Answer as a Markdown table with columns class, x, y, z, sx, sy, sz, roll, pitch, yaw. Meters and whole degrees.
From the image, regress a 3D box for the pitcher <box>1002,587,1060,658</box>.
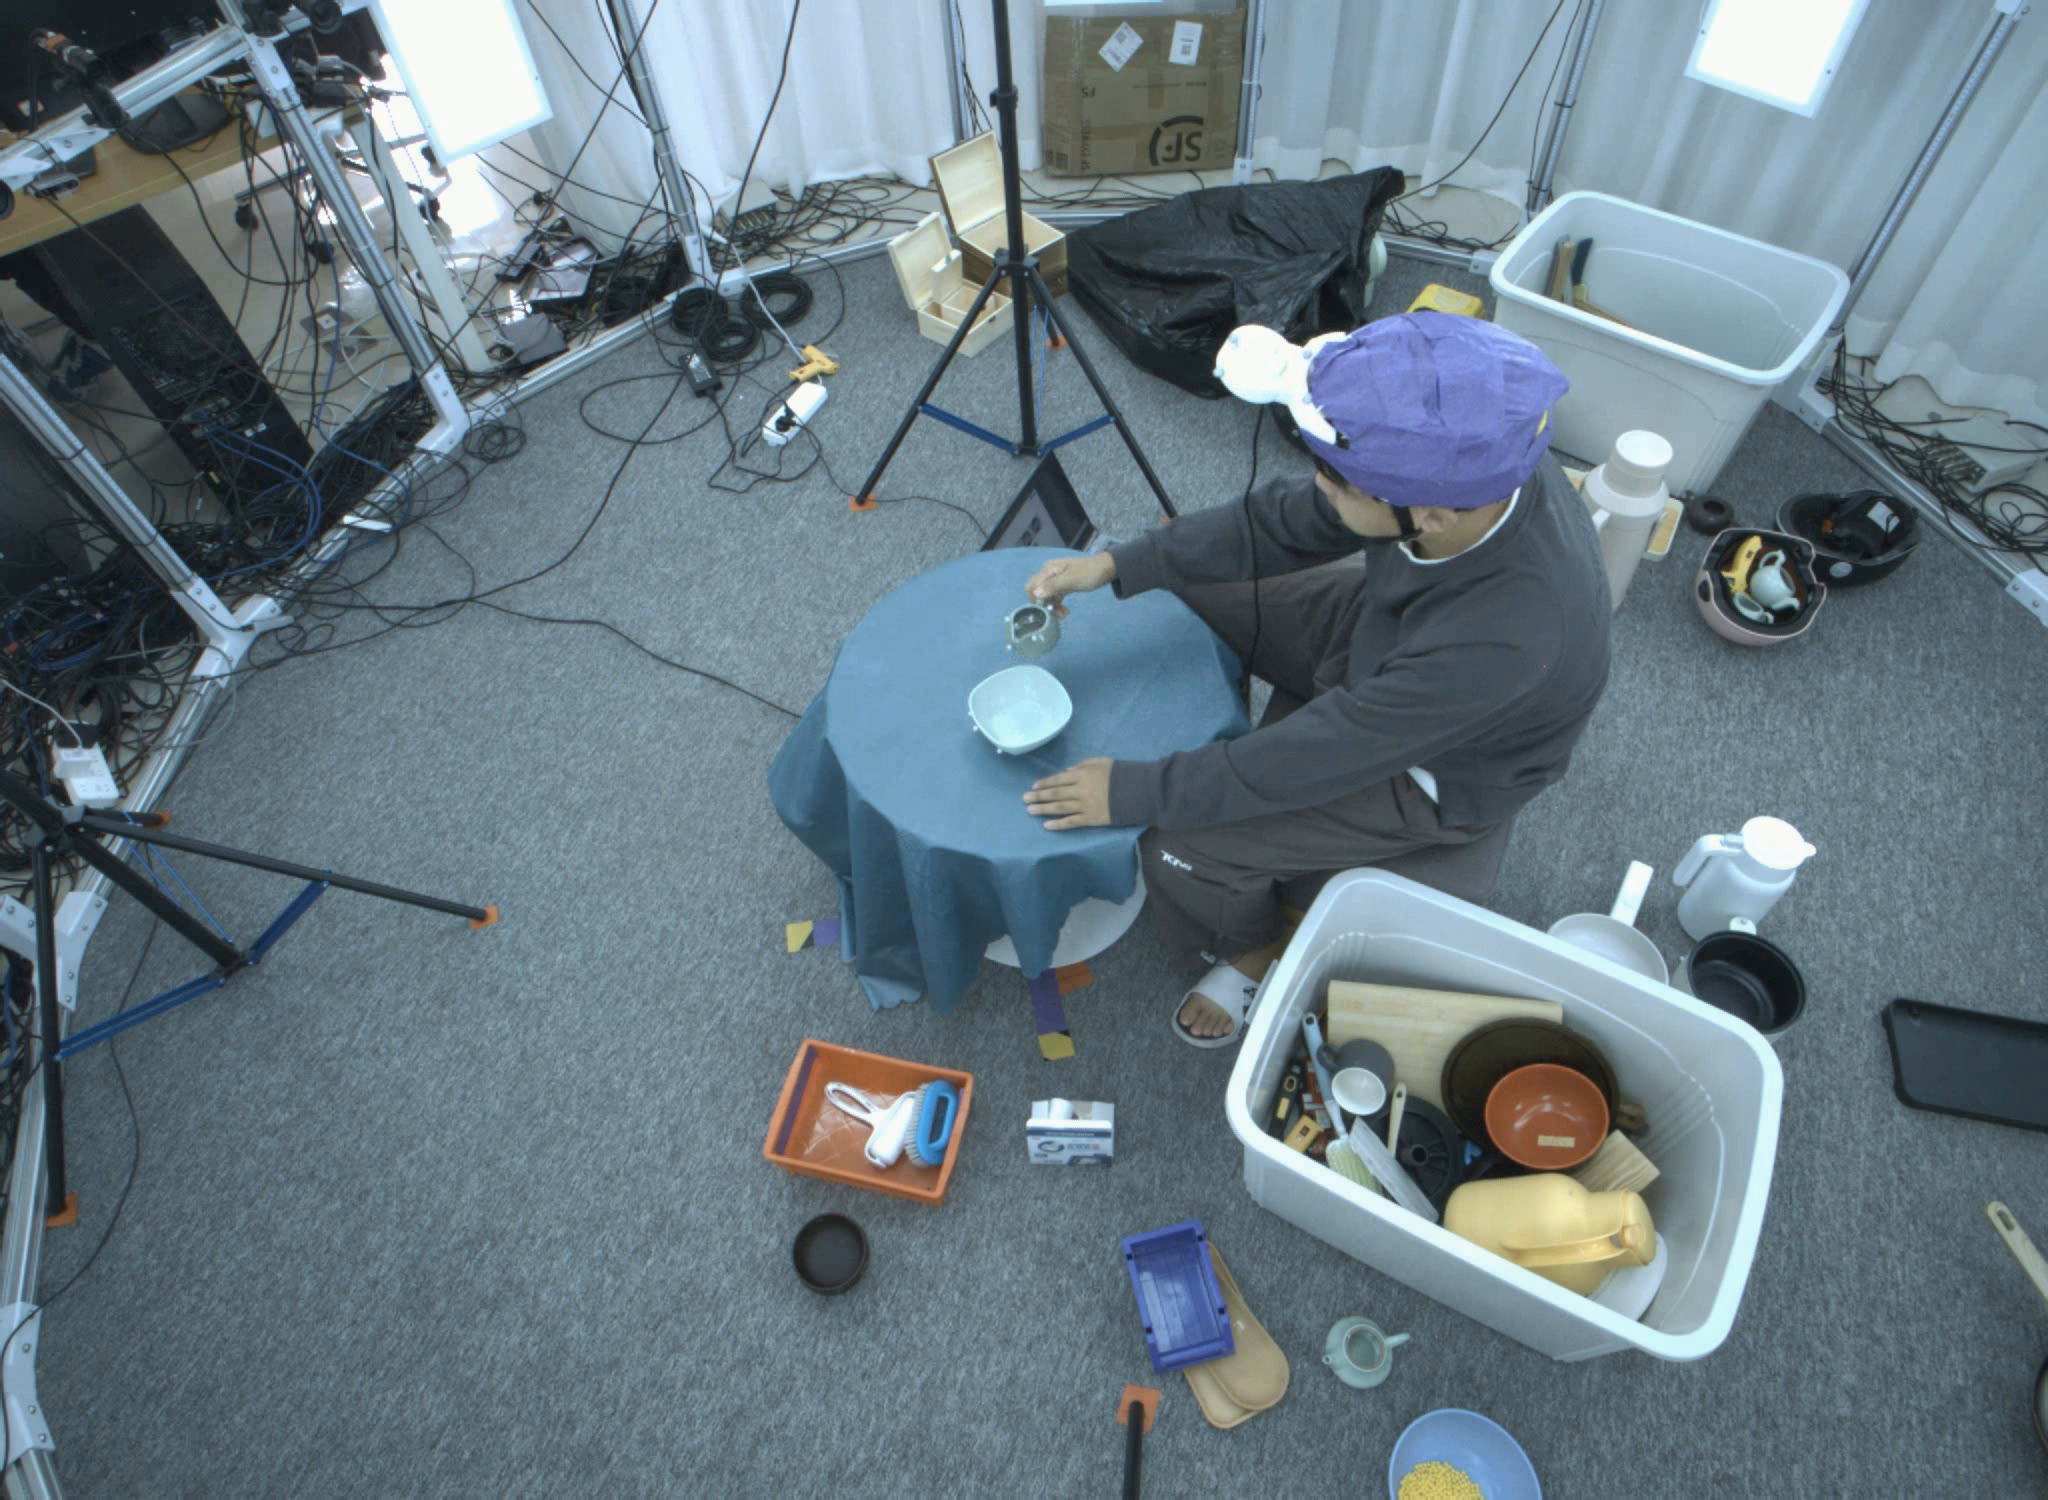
| class | x | y | z | sx | sy | sz | roll | pitch | yaw |
| --- | --- | --- | --- | --- | --- | --- | --- | --- | --- |
| pitcher | 0.011 | -0.180 | 1.773 | 0.083 | 0.057 | 0.112 | 17 | 62 | 13 |

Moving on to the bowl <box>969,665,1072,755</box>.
| class | x | y | z | sx | sy | sz | roll | pitch | yaw |
| --- | --- | --- | --- | --- | --- | --- | --- | --- | --- |
| bowl | -0.004 | -0.048 | 1.788 | 0.151 | 0.059 | 0.150 | -1 | 55 | 3 |
